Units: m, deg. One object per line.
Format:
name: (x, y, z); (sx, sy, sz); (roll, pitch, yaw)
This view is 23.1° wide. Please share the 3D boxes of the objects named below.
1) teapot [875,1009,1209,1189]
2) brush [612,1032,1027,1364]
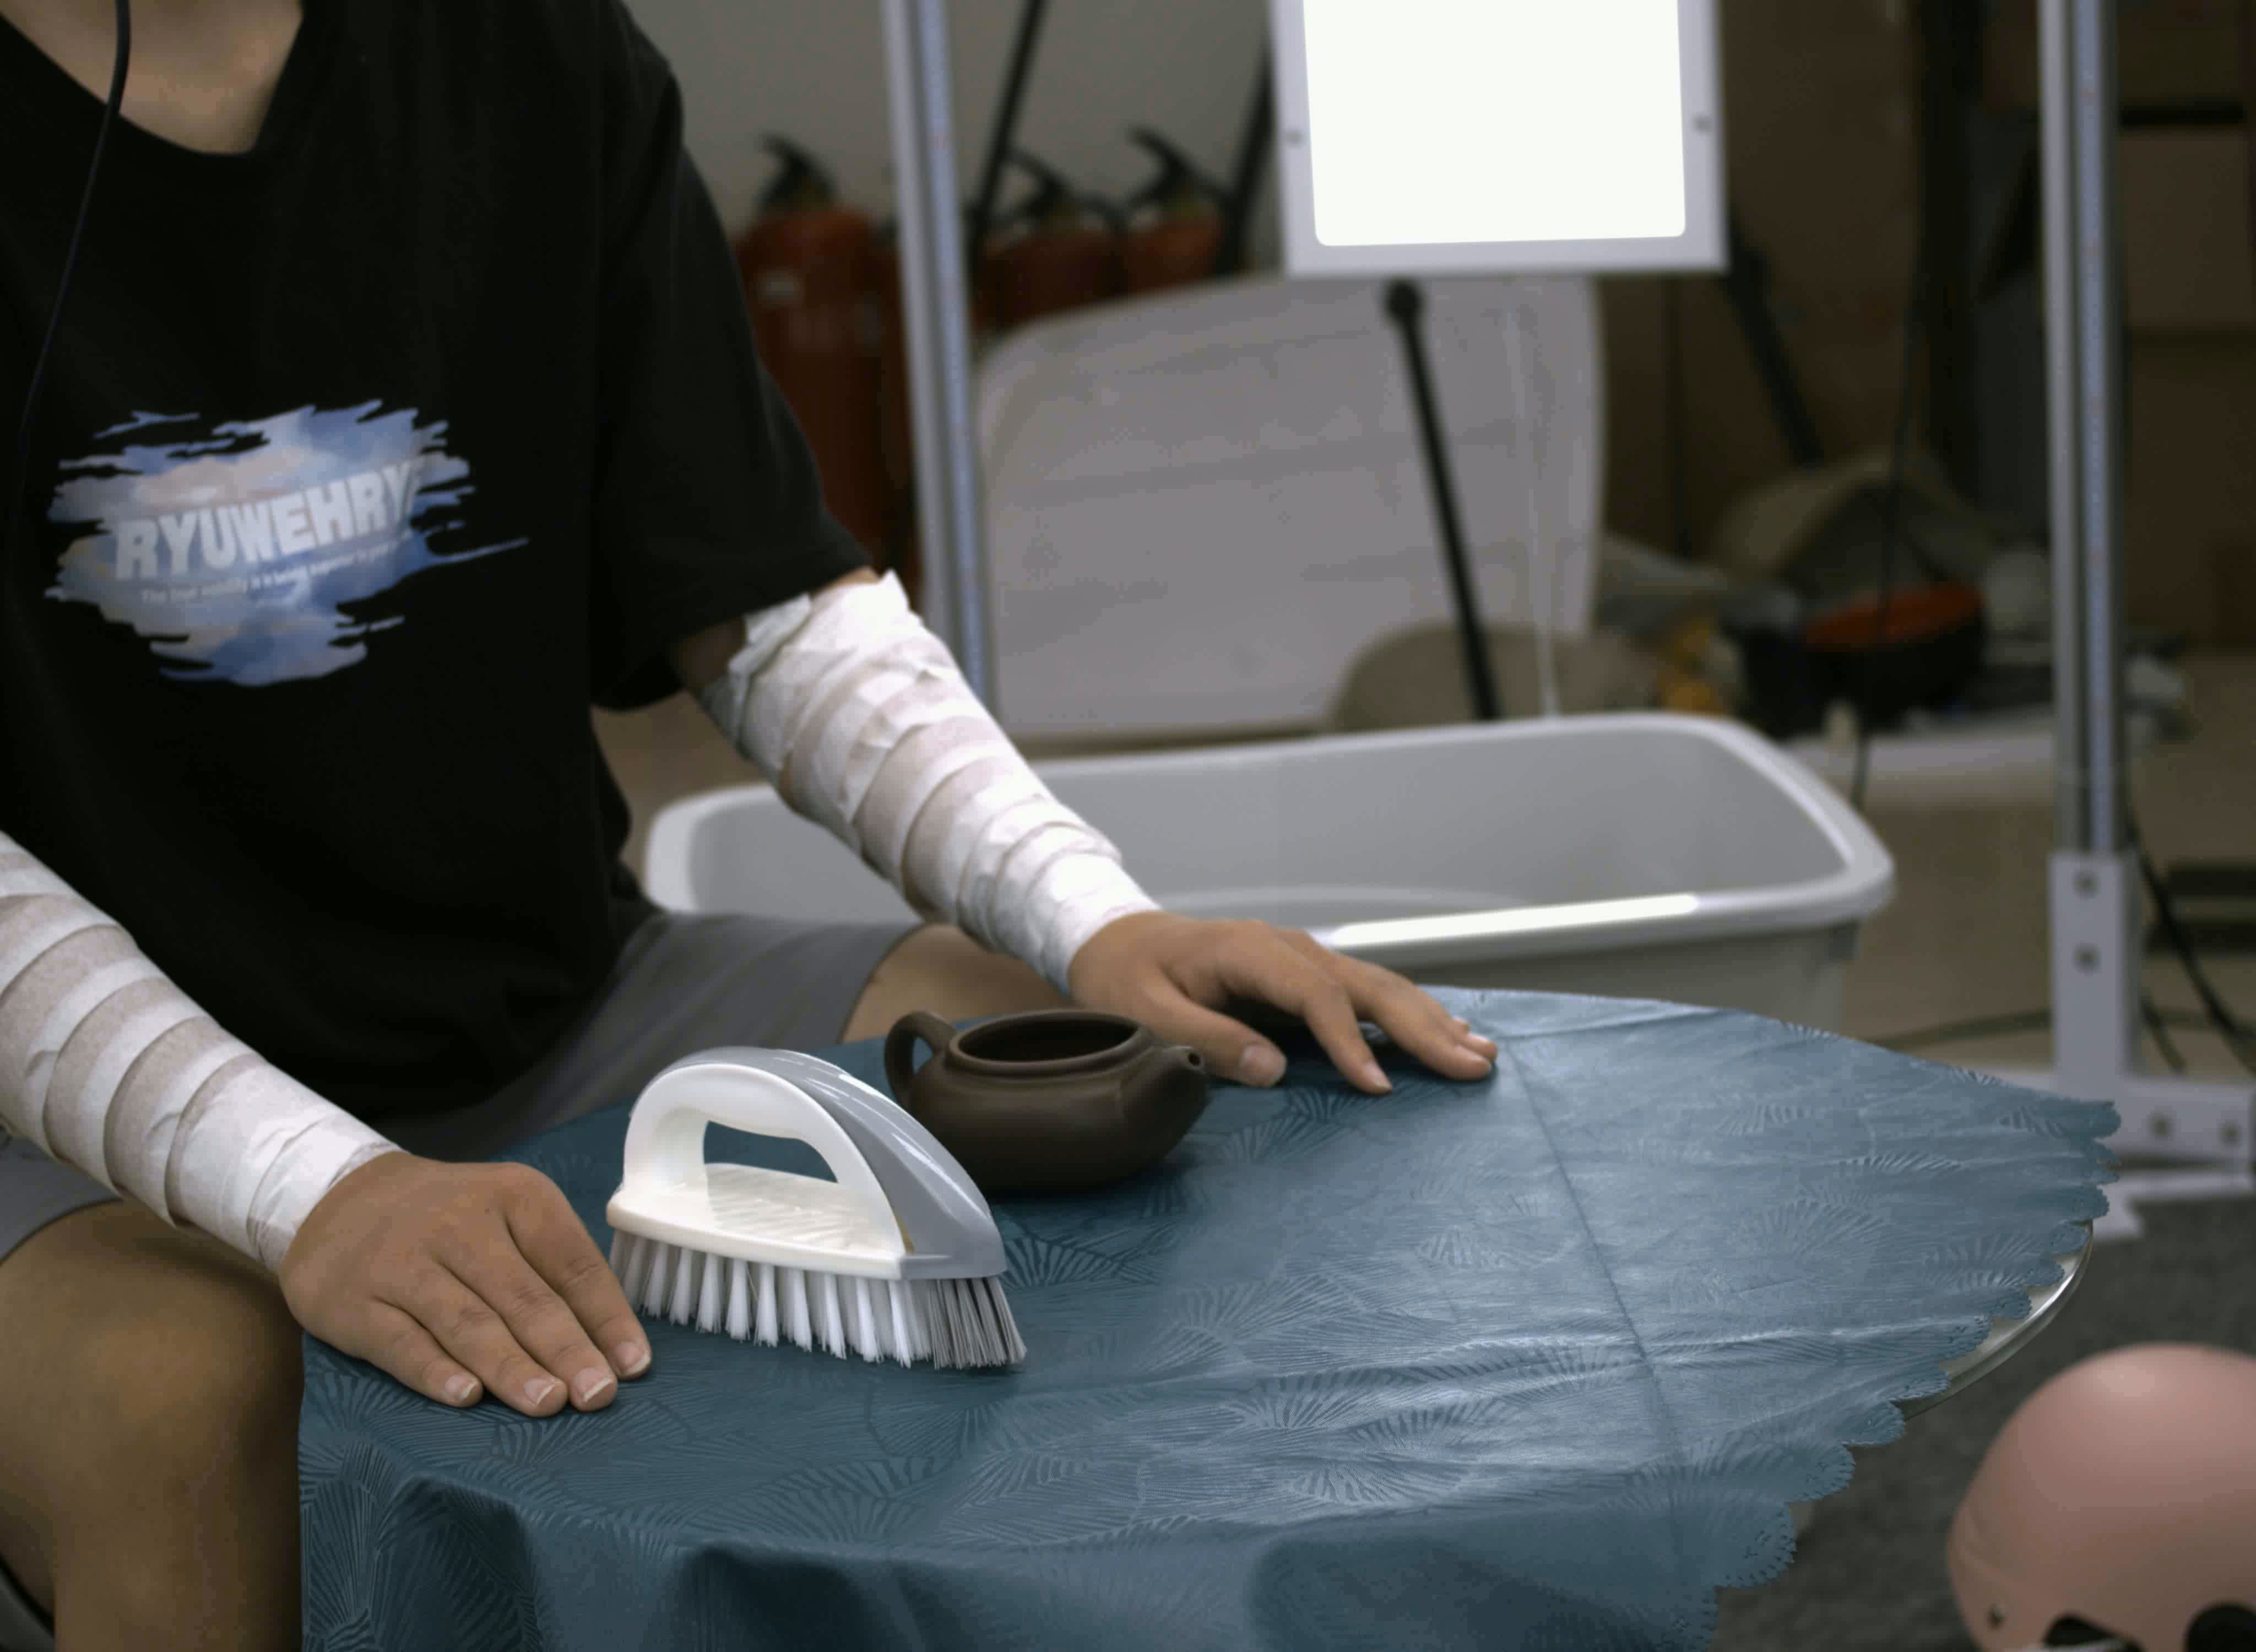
teapot: (-0.030, 0.093, 1.931); (0.157, 0.054, 0.100); (6, 16, 39)
brush: (-0.099, 0.117, 1.781); (0.060, 0.094, 0.179); (-21, 23, -40)
